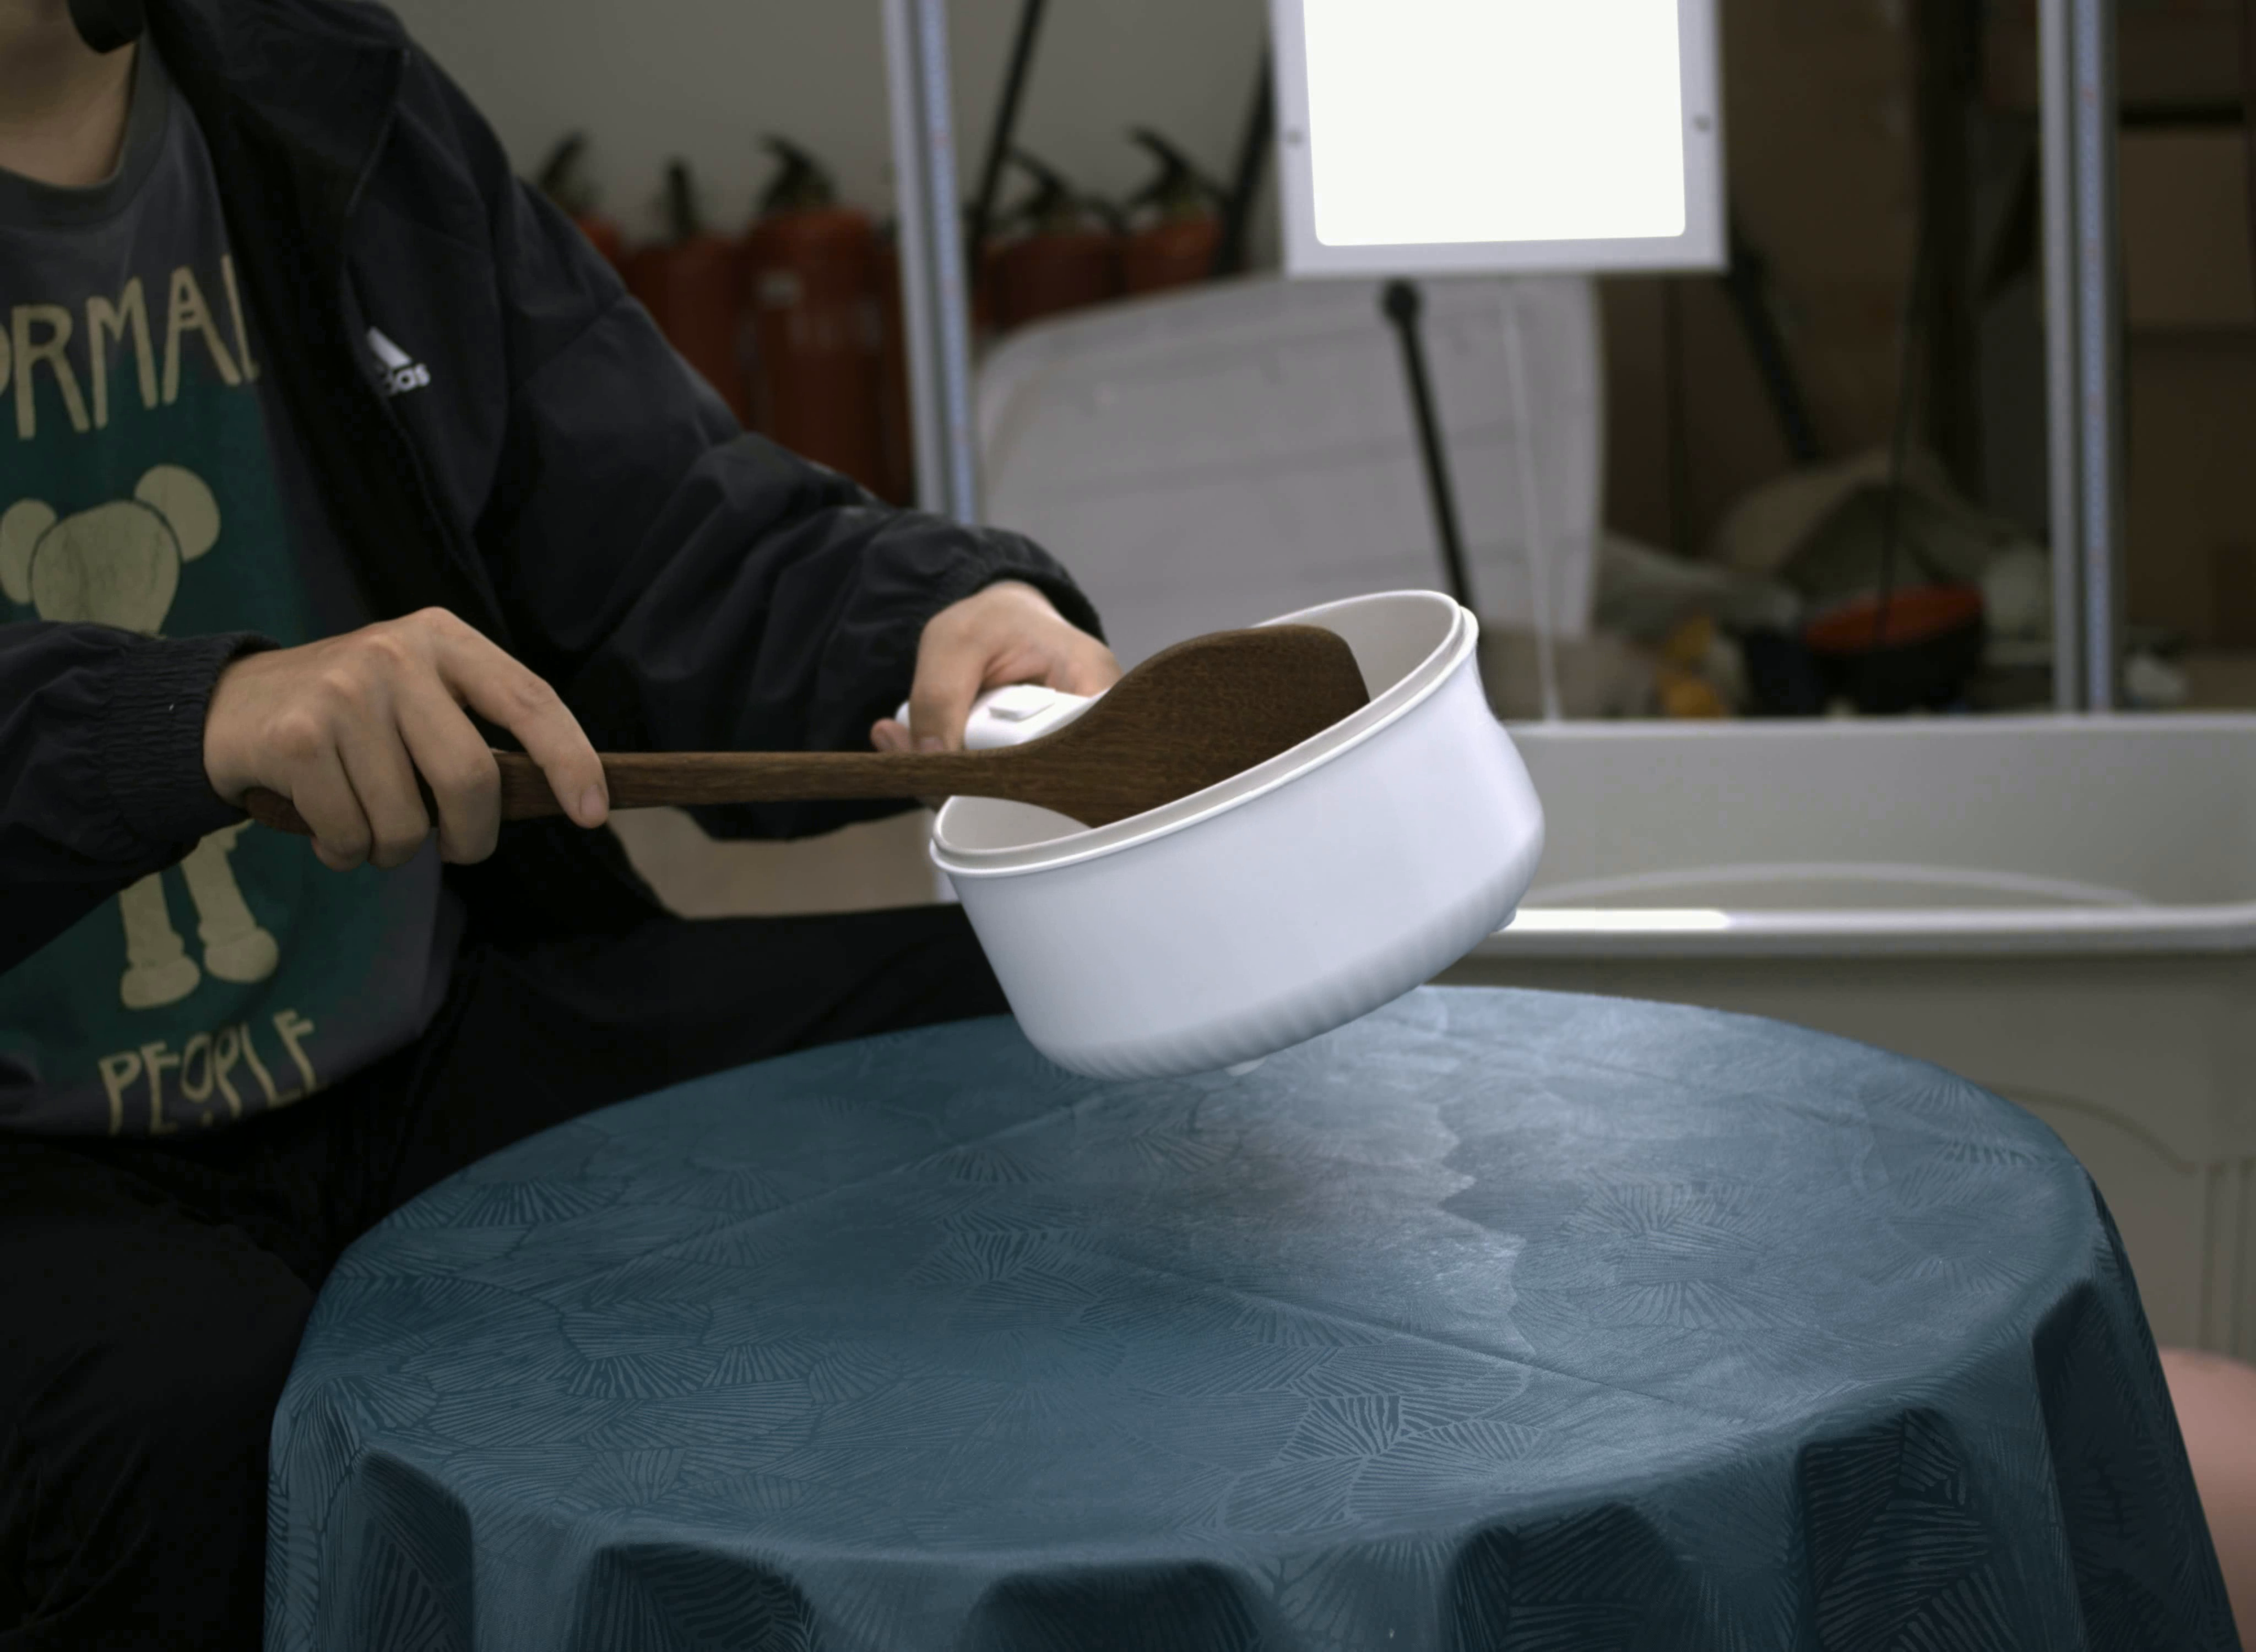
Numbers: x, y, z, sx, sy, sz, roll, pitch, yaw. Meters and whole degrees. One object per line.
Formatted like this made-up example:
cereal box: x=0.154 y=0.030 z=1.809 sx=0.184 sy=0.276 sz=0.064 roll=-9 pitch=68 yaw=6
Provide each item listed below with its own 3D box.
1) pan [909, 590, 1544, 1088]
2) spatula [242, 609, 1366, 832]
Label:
pan: x=0.013 y=0.005 z=1.939 sx=0.198 sy=0.102 sz=0.360 roll=-30 pitch=13 yaw=-17
spatula: x=-0.109 y=-0.019 z=1.846 sx=0.388 sy=0.096 sz=0.015 roll=-2 pitch=24 yaw=10
